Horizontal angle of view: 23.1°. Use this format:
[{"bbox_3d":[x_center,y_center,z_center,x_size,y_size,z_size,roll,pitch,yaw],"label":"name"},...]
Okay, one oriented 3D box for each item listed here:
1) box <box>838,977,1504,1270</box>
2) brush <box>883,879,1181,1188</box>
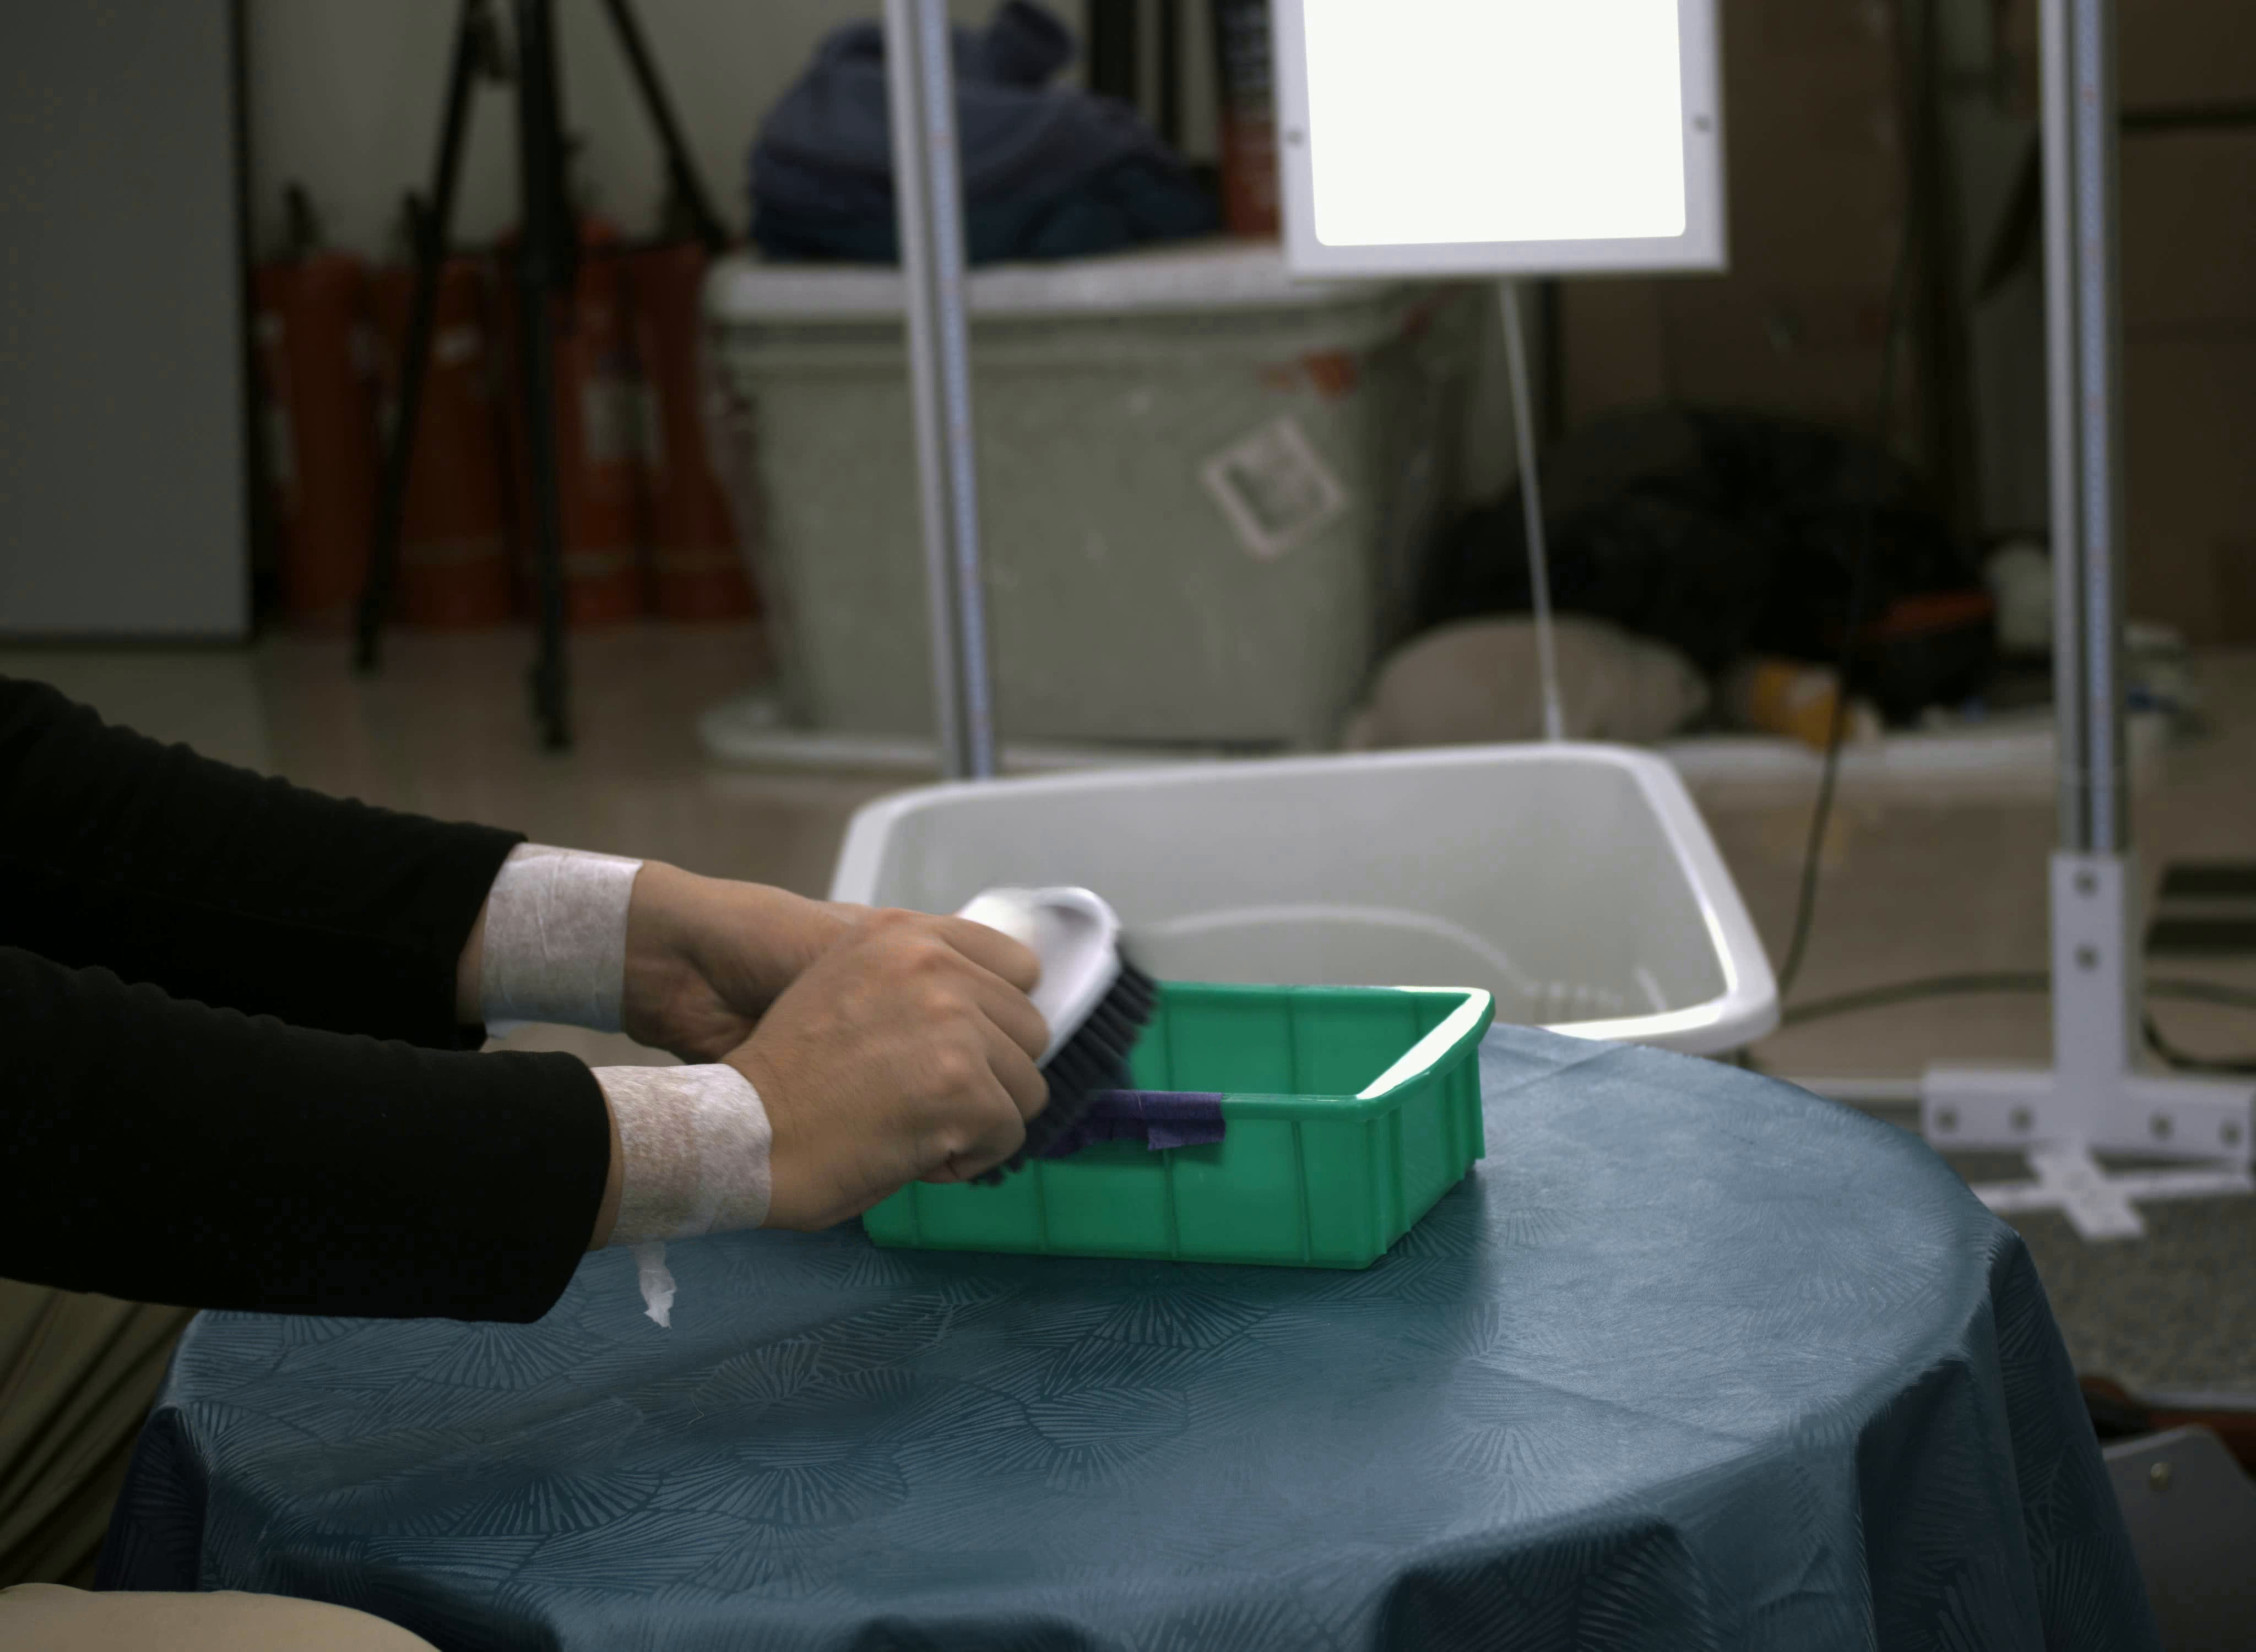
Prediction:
[{"bbox_3d":[0.018,0.099,1.871,0.213,0.065,0.136,2,17,22],"label":"box"},{"bbox_3d":[-0.037,0.060,1.776,0.098,0.072,0.051,-43,44,-8],"label":"brush"}]
